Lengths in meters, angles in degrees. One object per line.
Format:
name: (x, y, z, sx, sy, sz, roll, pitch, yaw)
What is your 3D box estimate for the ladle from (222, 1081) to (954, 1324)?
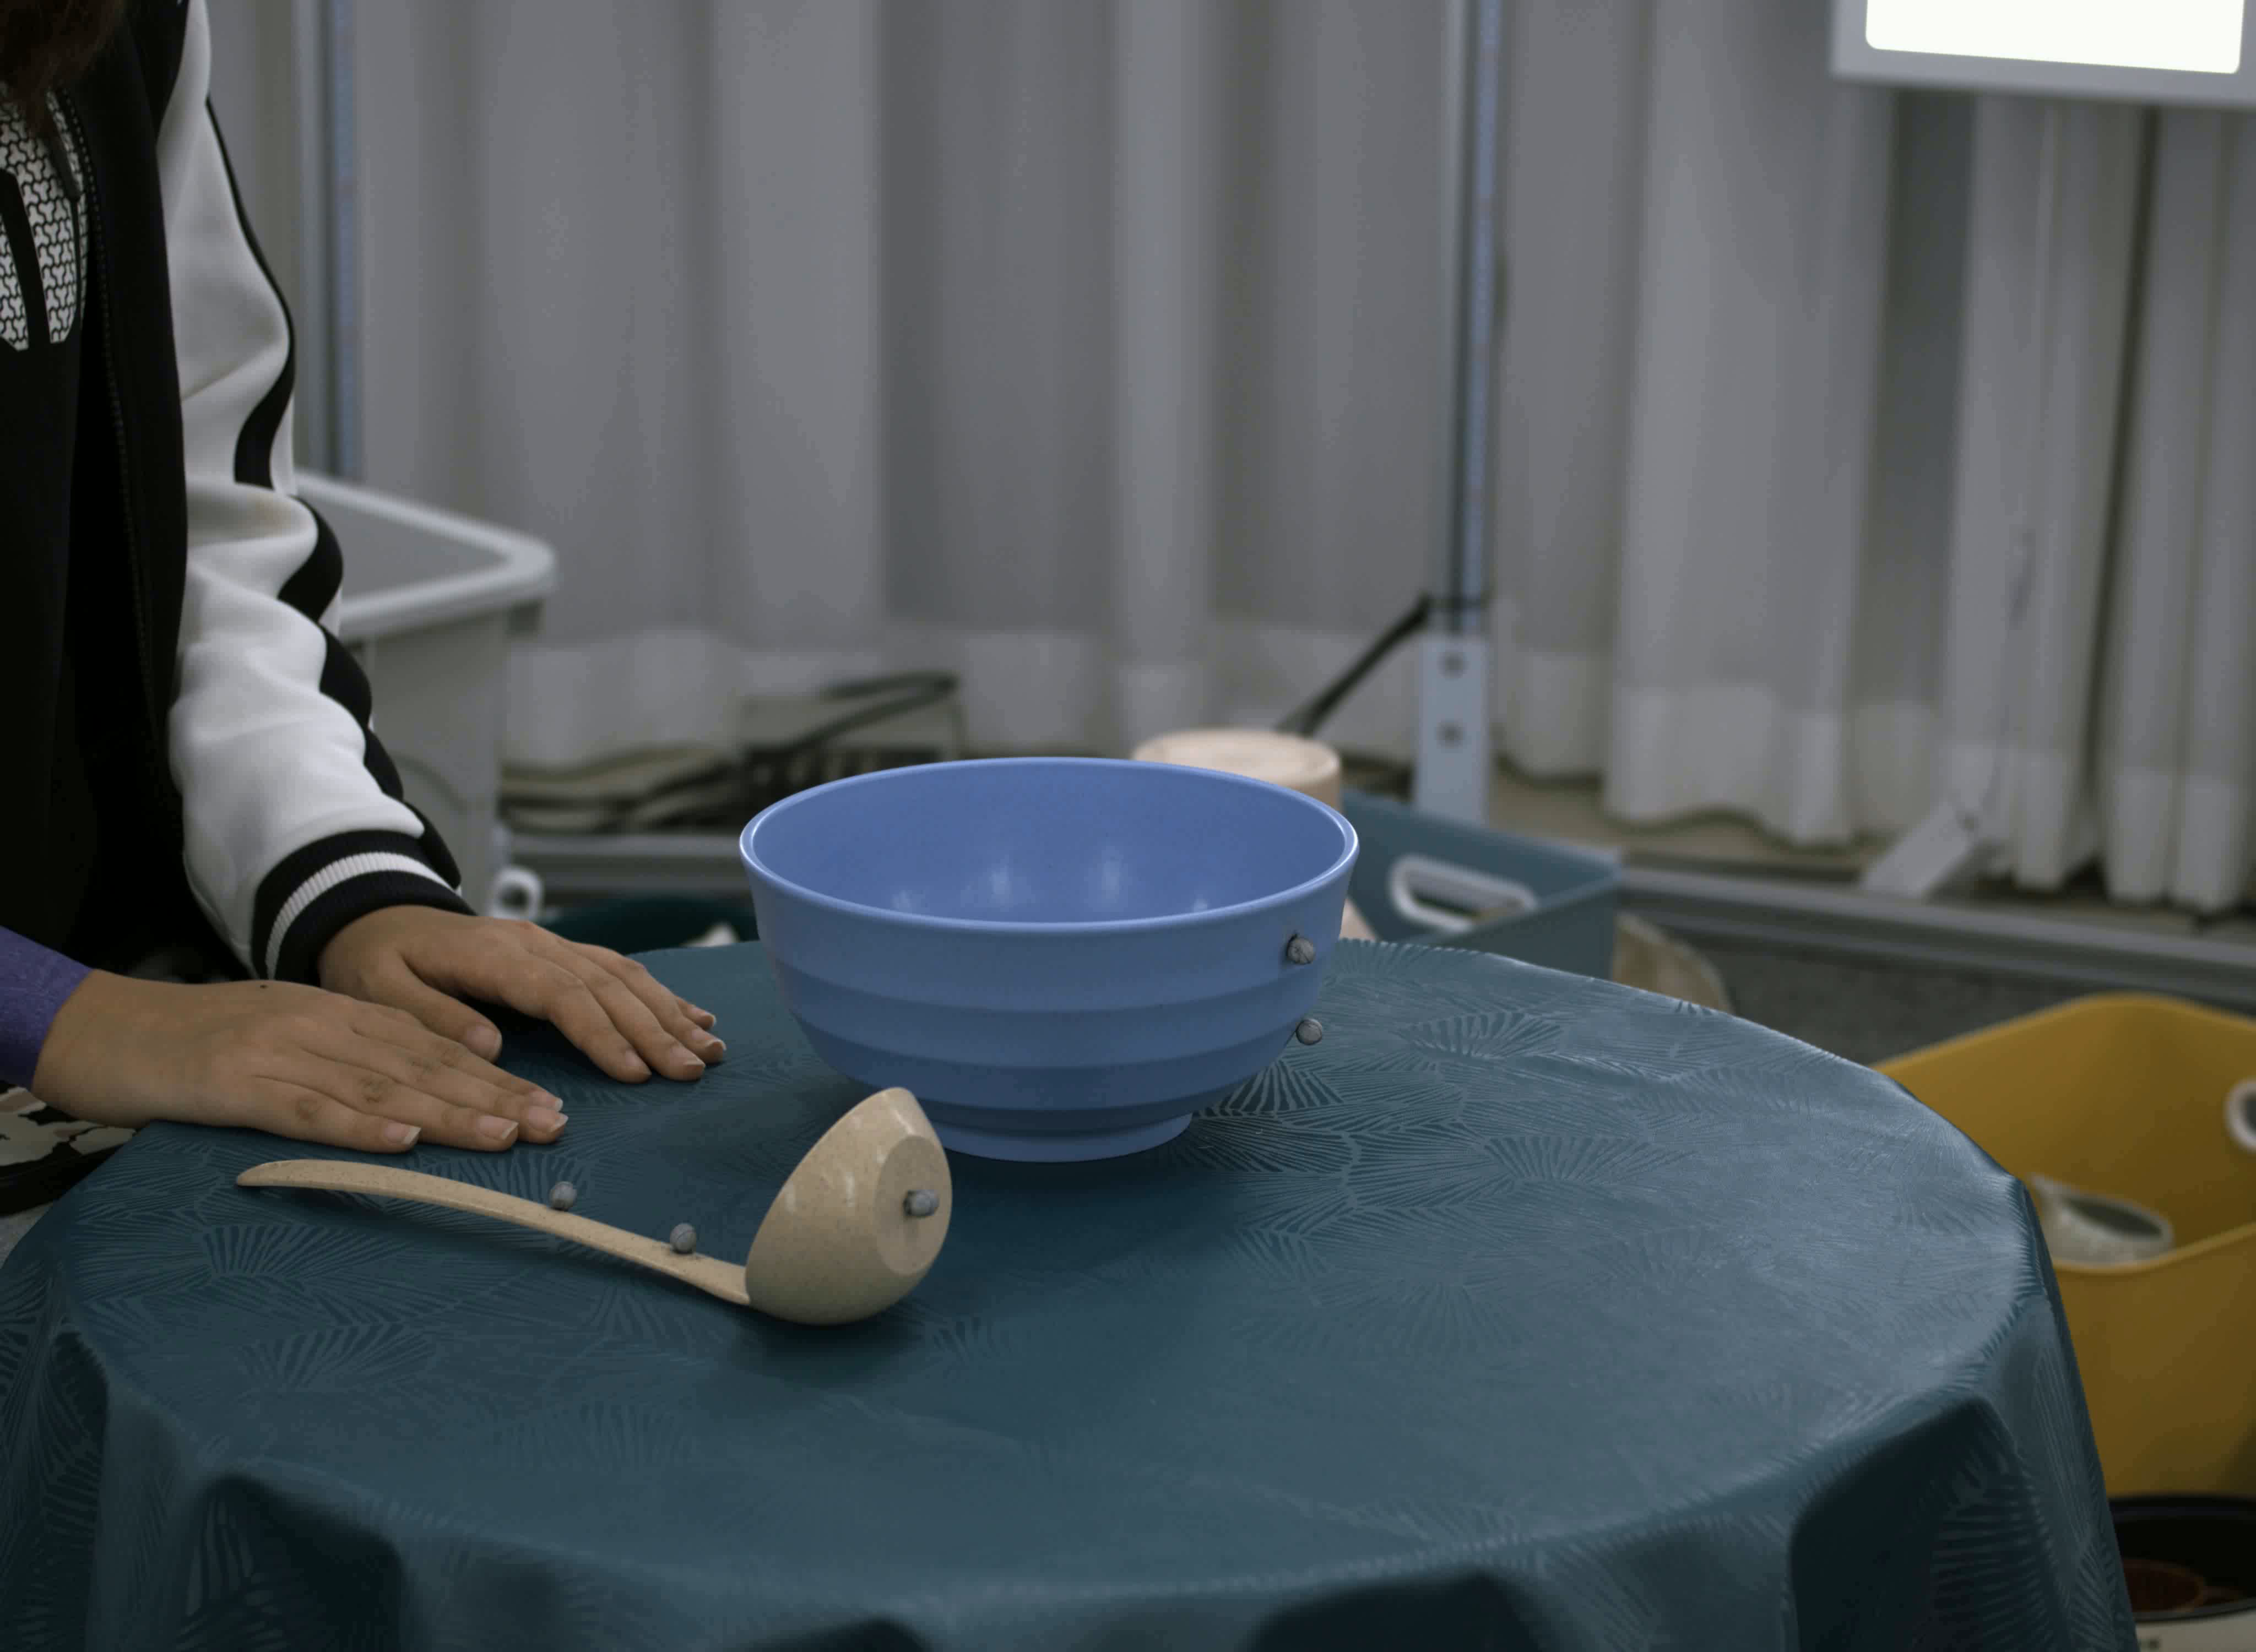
ladle: (-0.167, 0.093, 1.548, 0.251, 0.073, 0.072, 9, 17, 28)

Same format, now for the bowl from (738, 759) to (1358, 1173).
bowl: (-0.024, 0.051, 1.676, 0.196, 0.096, 0.195, -1, 17, 1)
